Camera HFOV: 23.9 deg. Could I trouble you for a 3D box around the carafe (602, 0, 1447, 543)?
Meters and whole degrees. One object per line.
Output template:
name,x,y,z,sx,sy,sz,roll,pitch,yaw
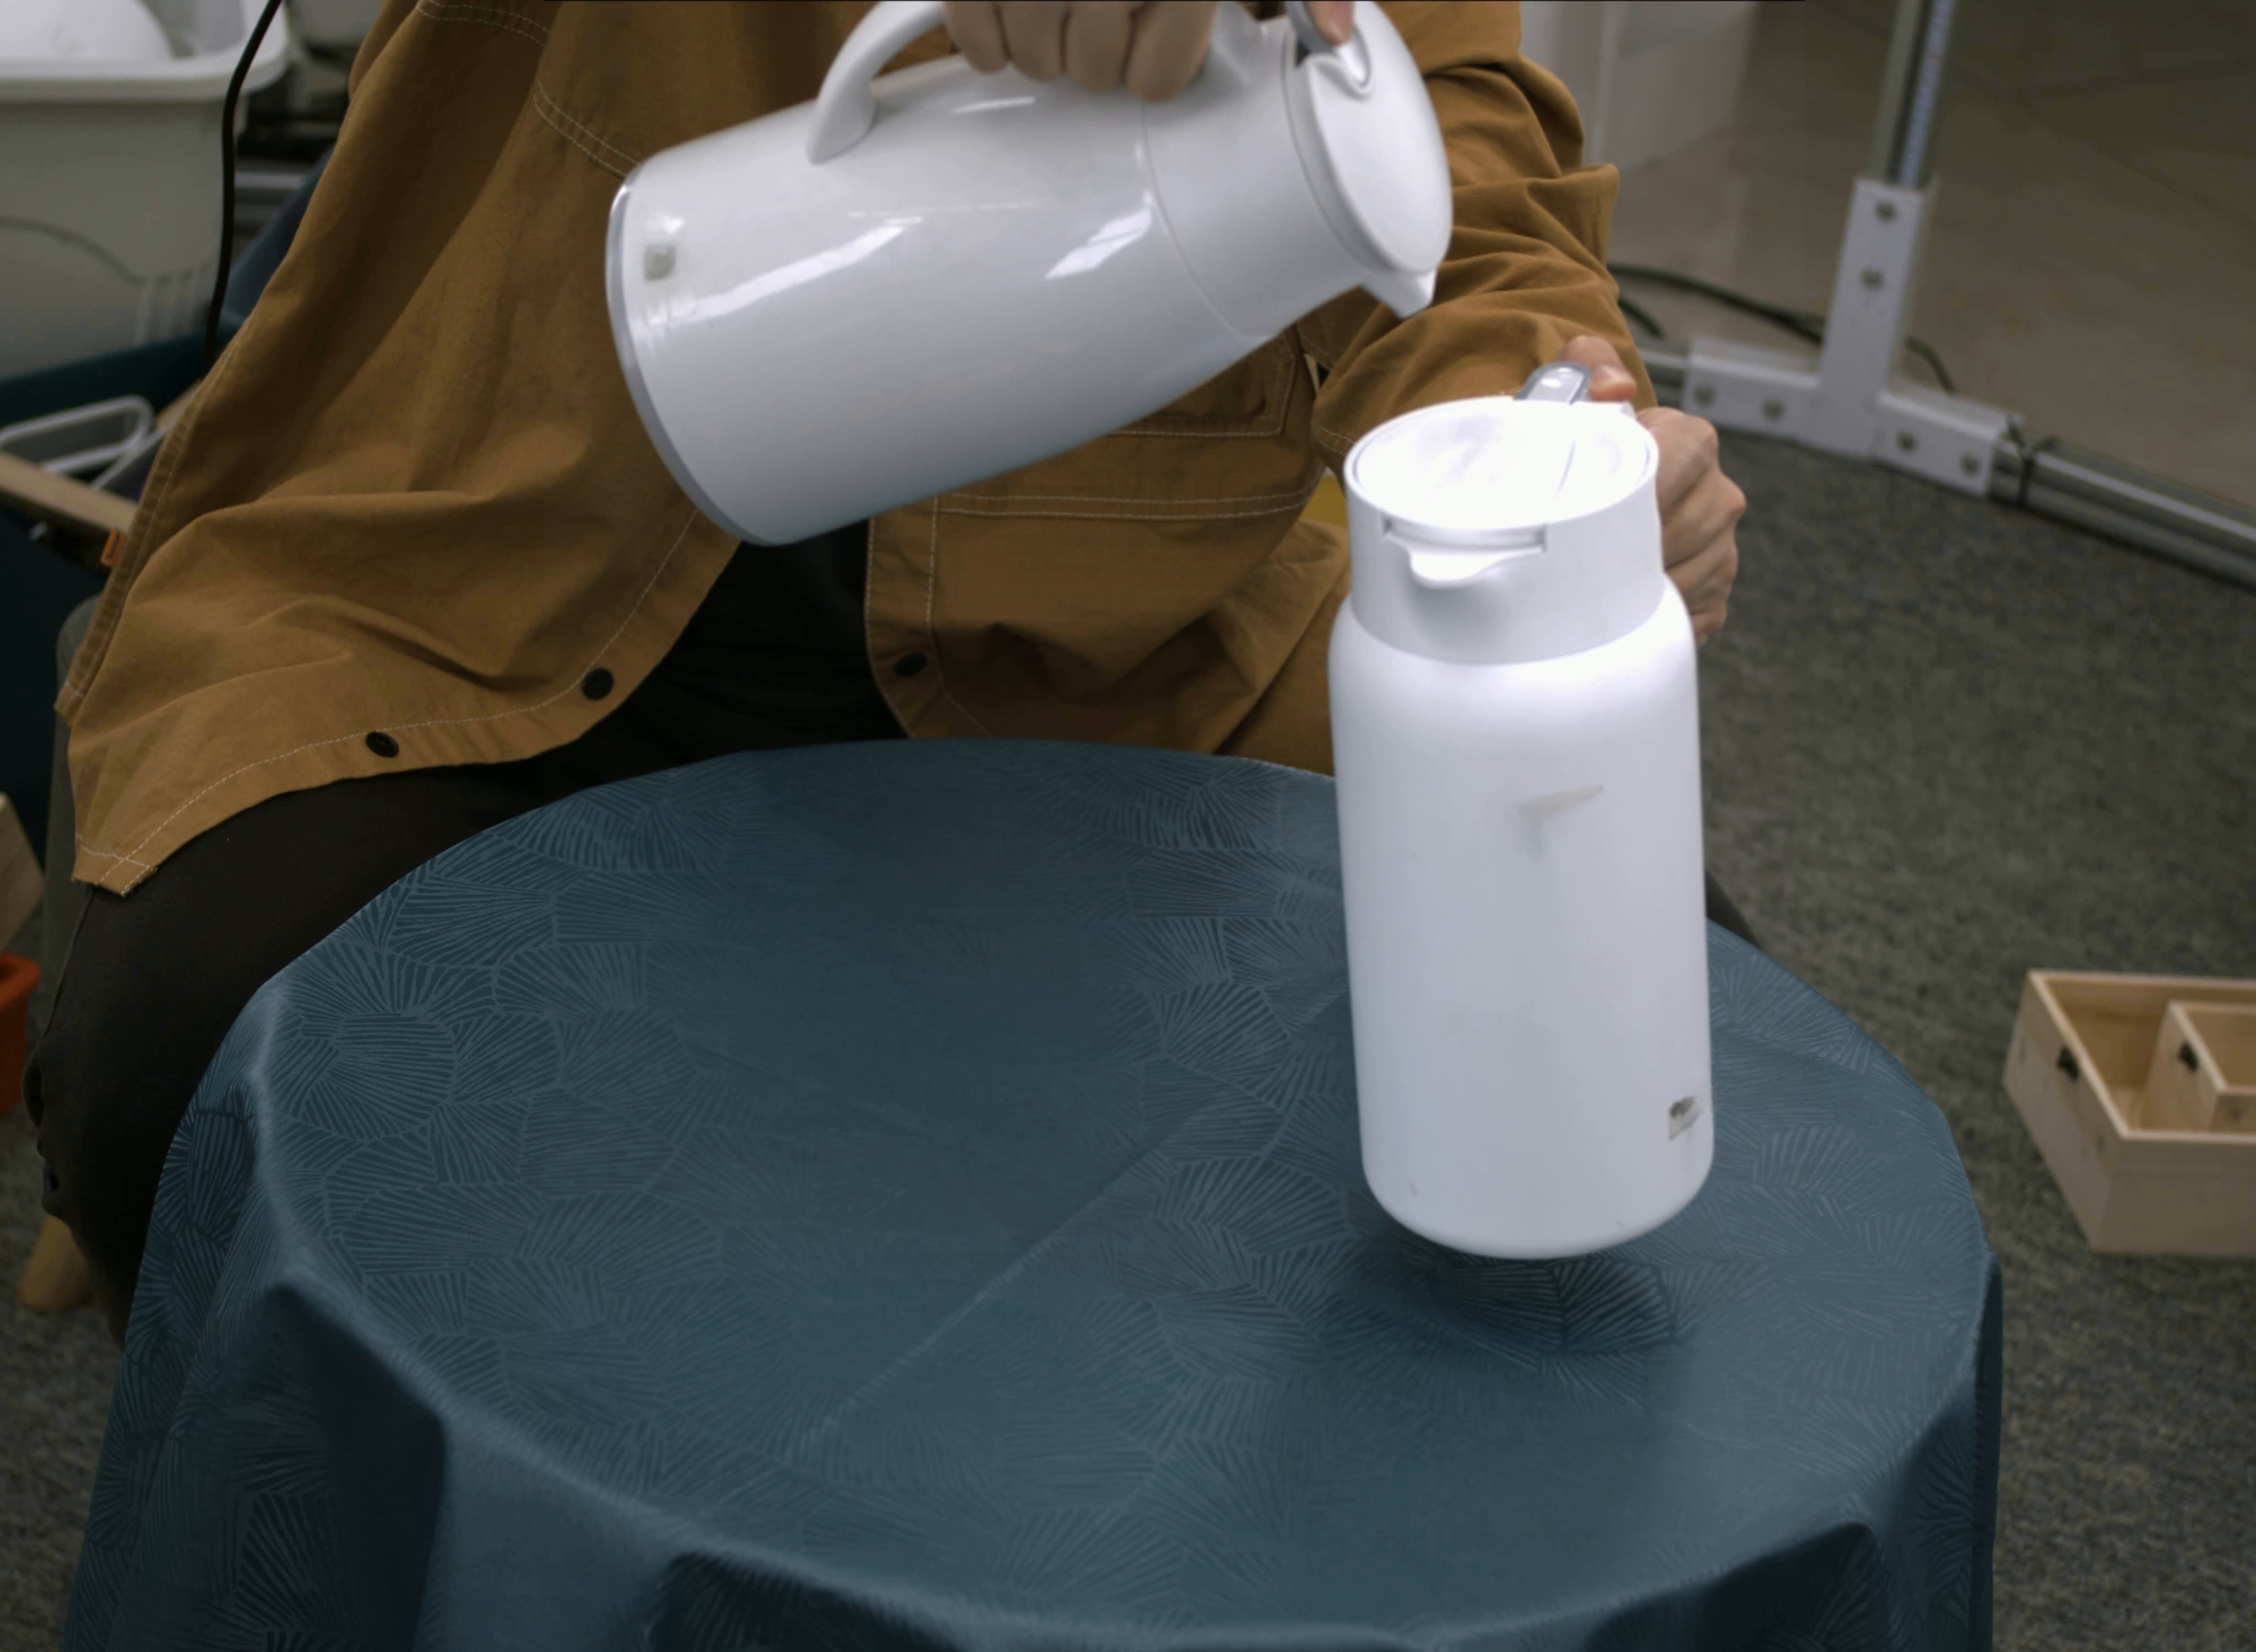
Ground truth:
carafe,-0.035,-0.195,1.642,0.249,0.166,0.133,-16,41,27

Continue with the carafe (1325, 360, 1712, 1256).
carafe,0.130,-0.009,1.727,0.124,0.268,0.173,4,29,21
